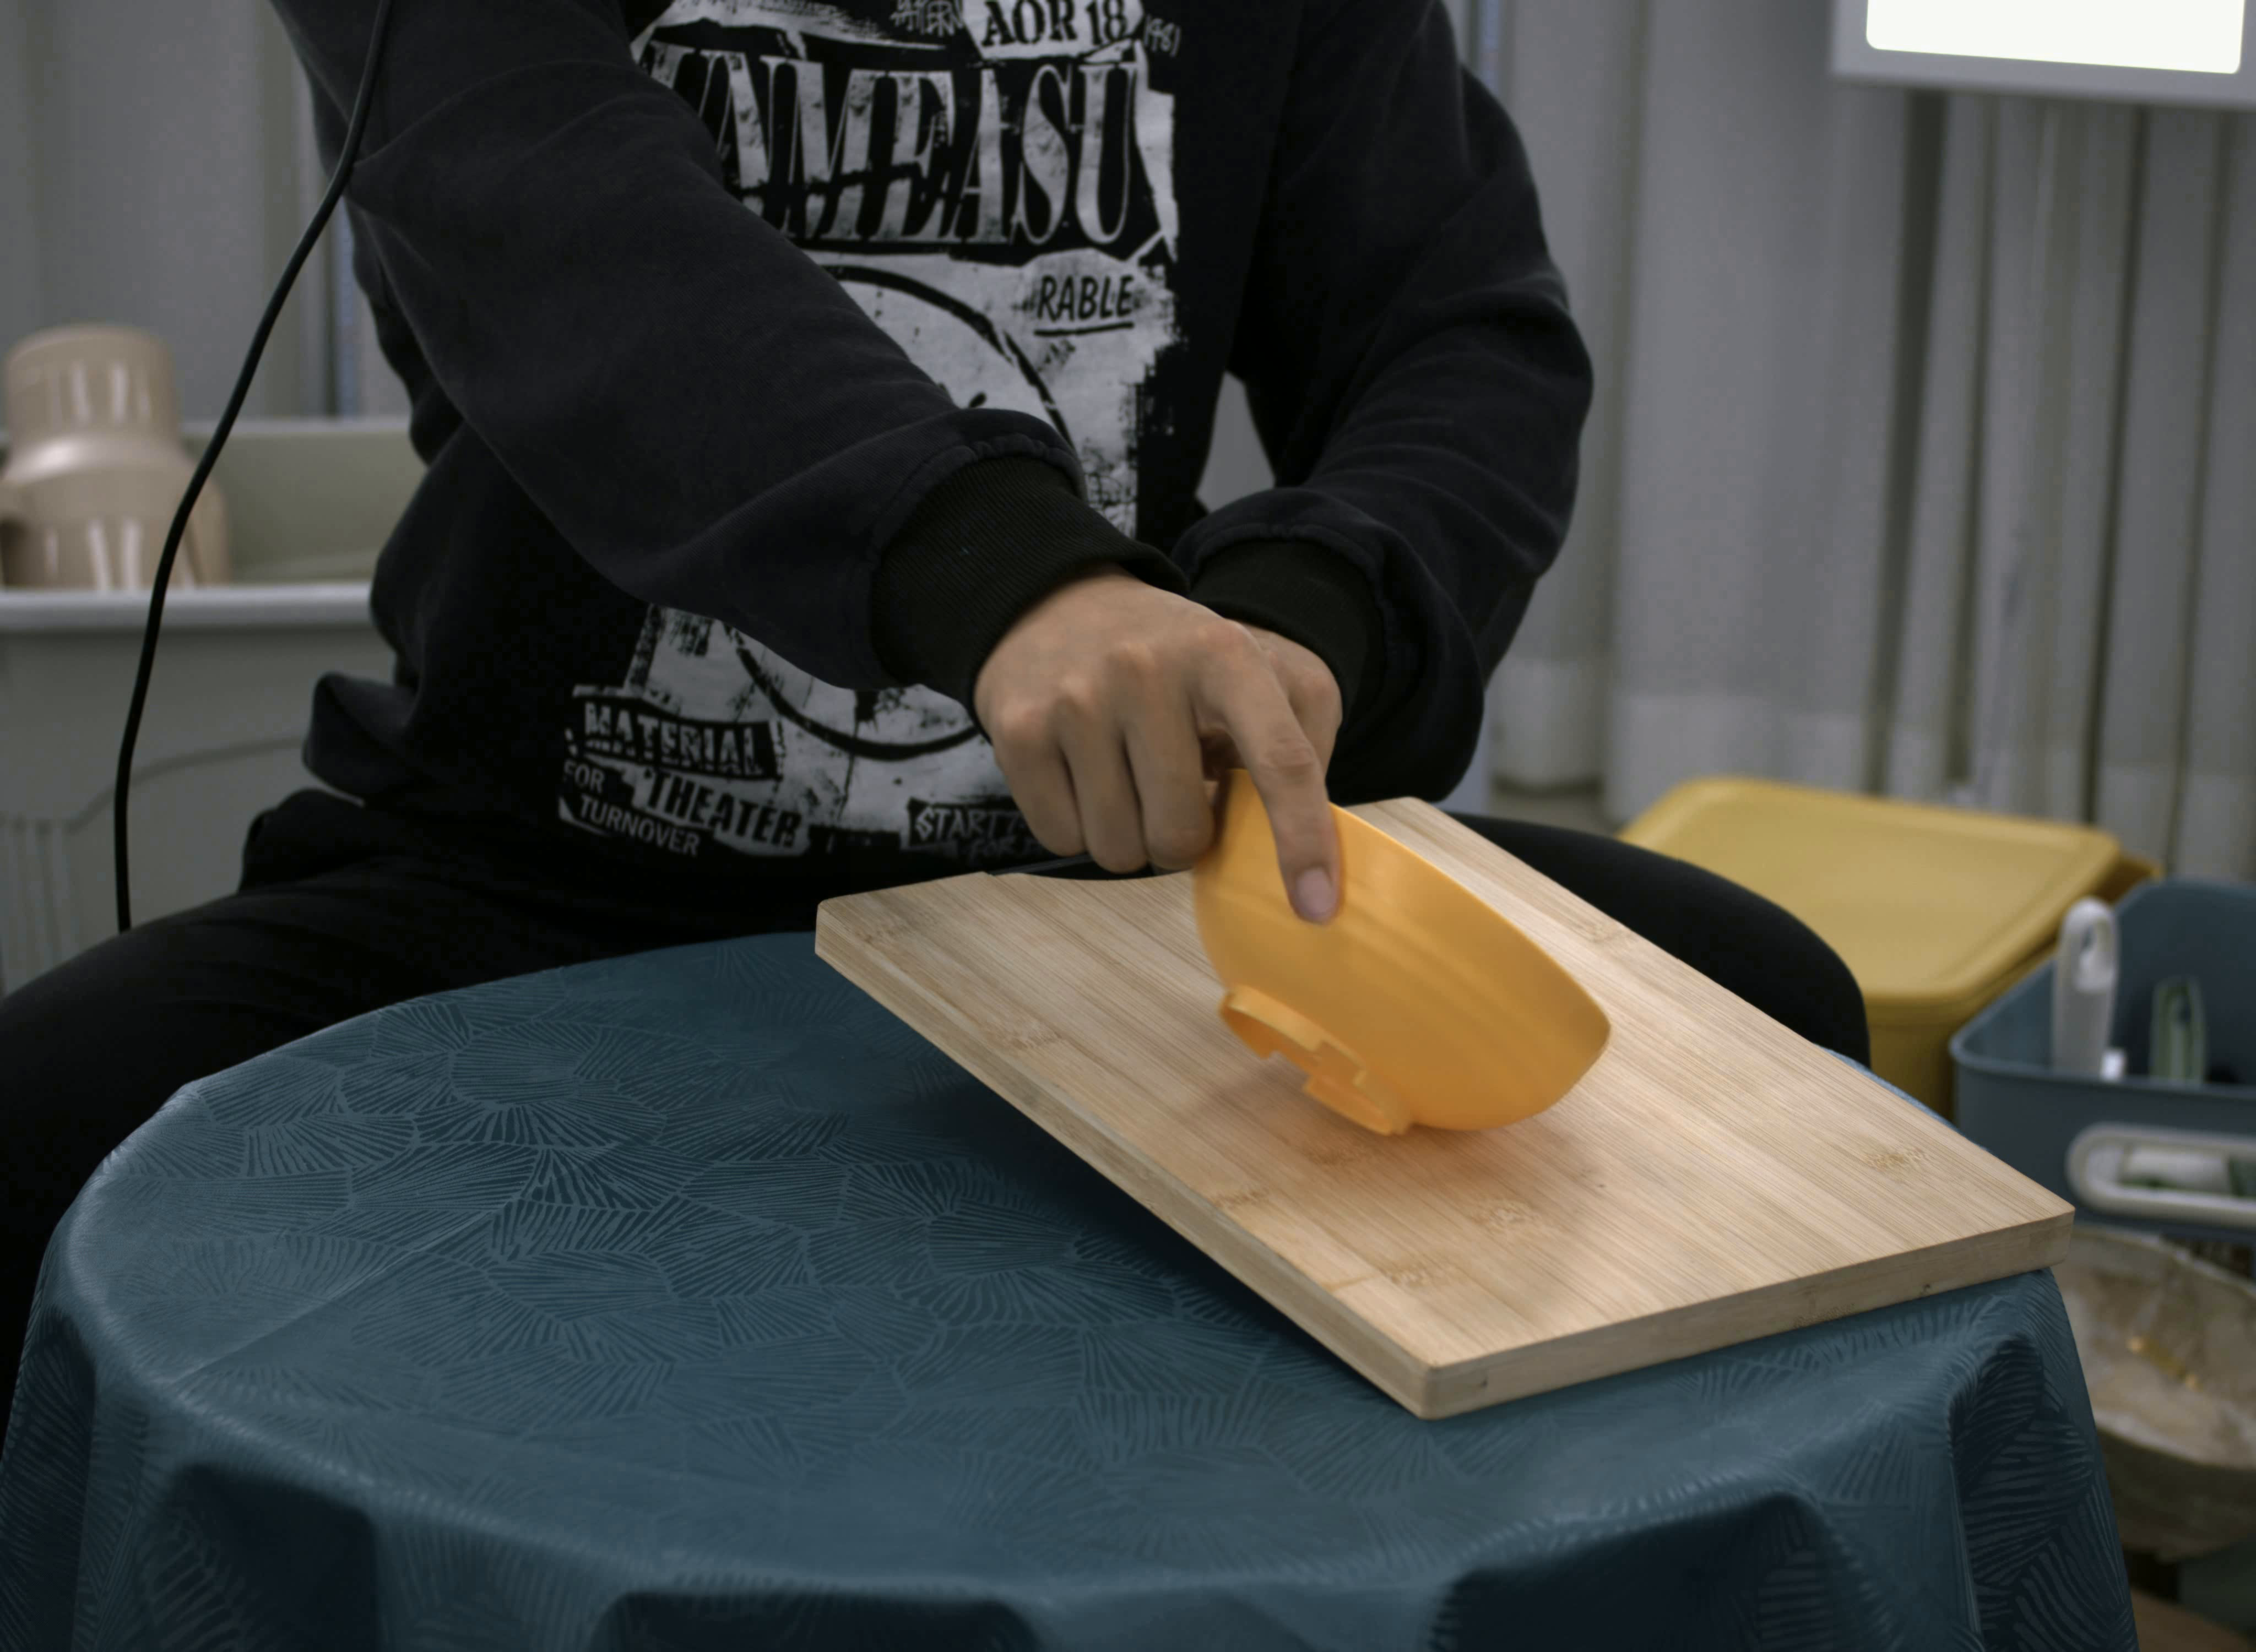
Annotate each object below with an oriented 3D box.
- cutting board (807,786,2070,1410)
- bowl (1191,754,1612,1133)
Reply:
[{"bbox_3d":[0.088,0.076,1.637,0.252,0.024,0.343,-10,28,-34],"label":"cutting board"},{"bbox_3d":[0.068,0.047,1.548,0.060,0.147,0.143,-52,37,-11],"label":"bowl"}]
